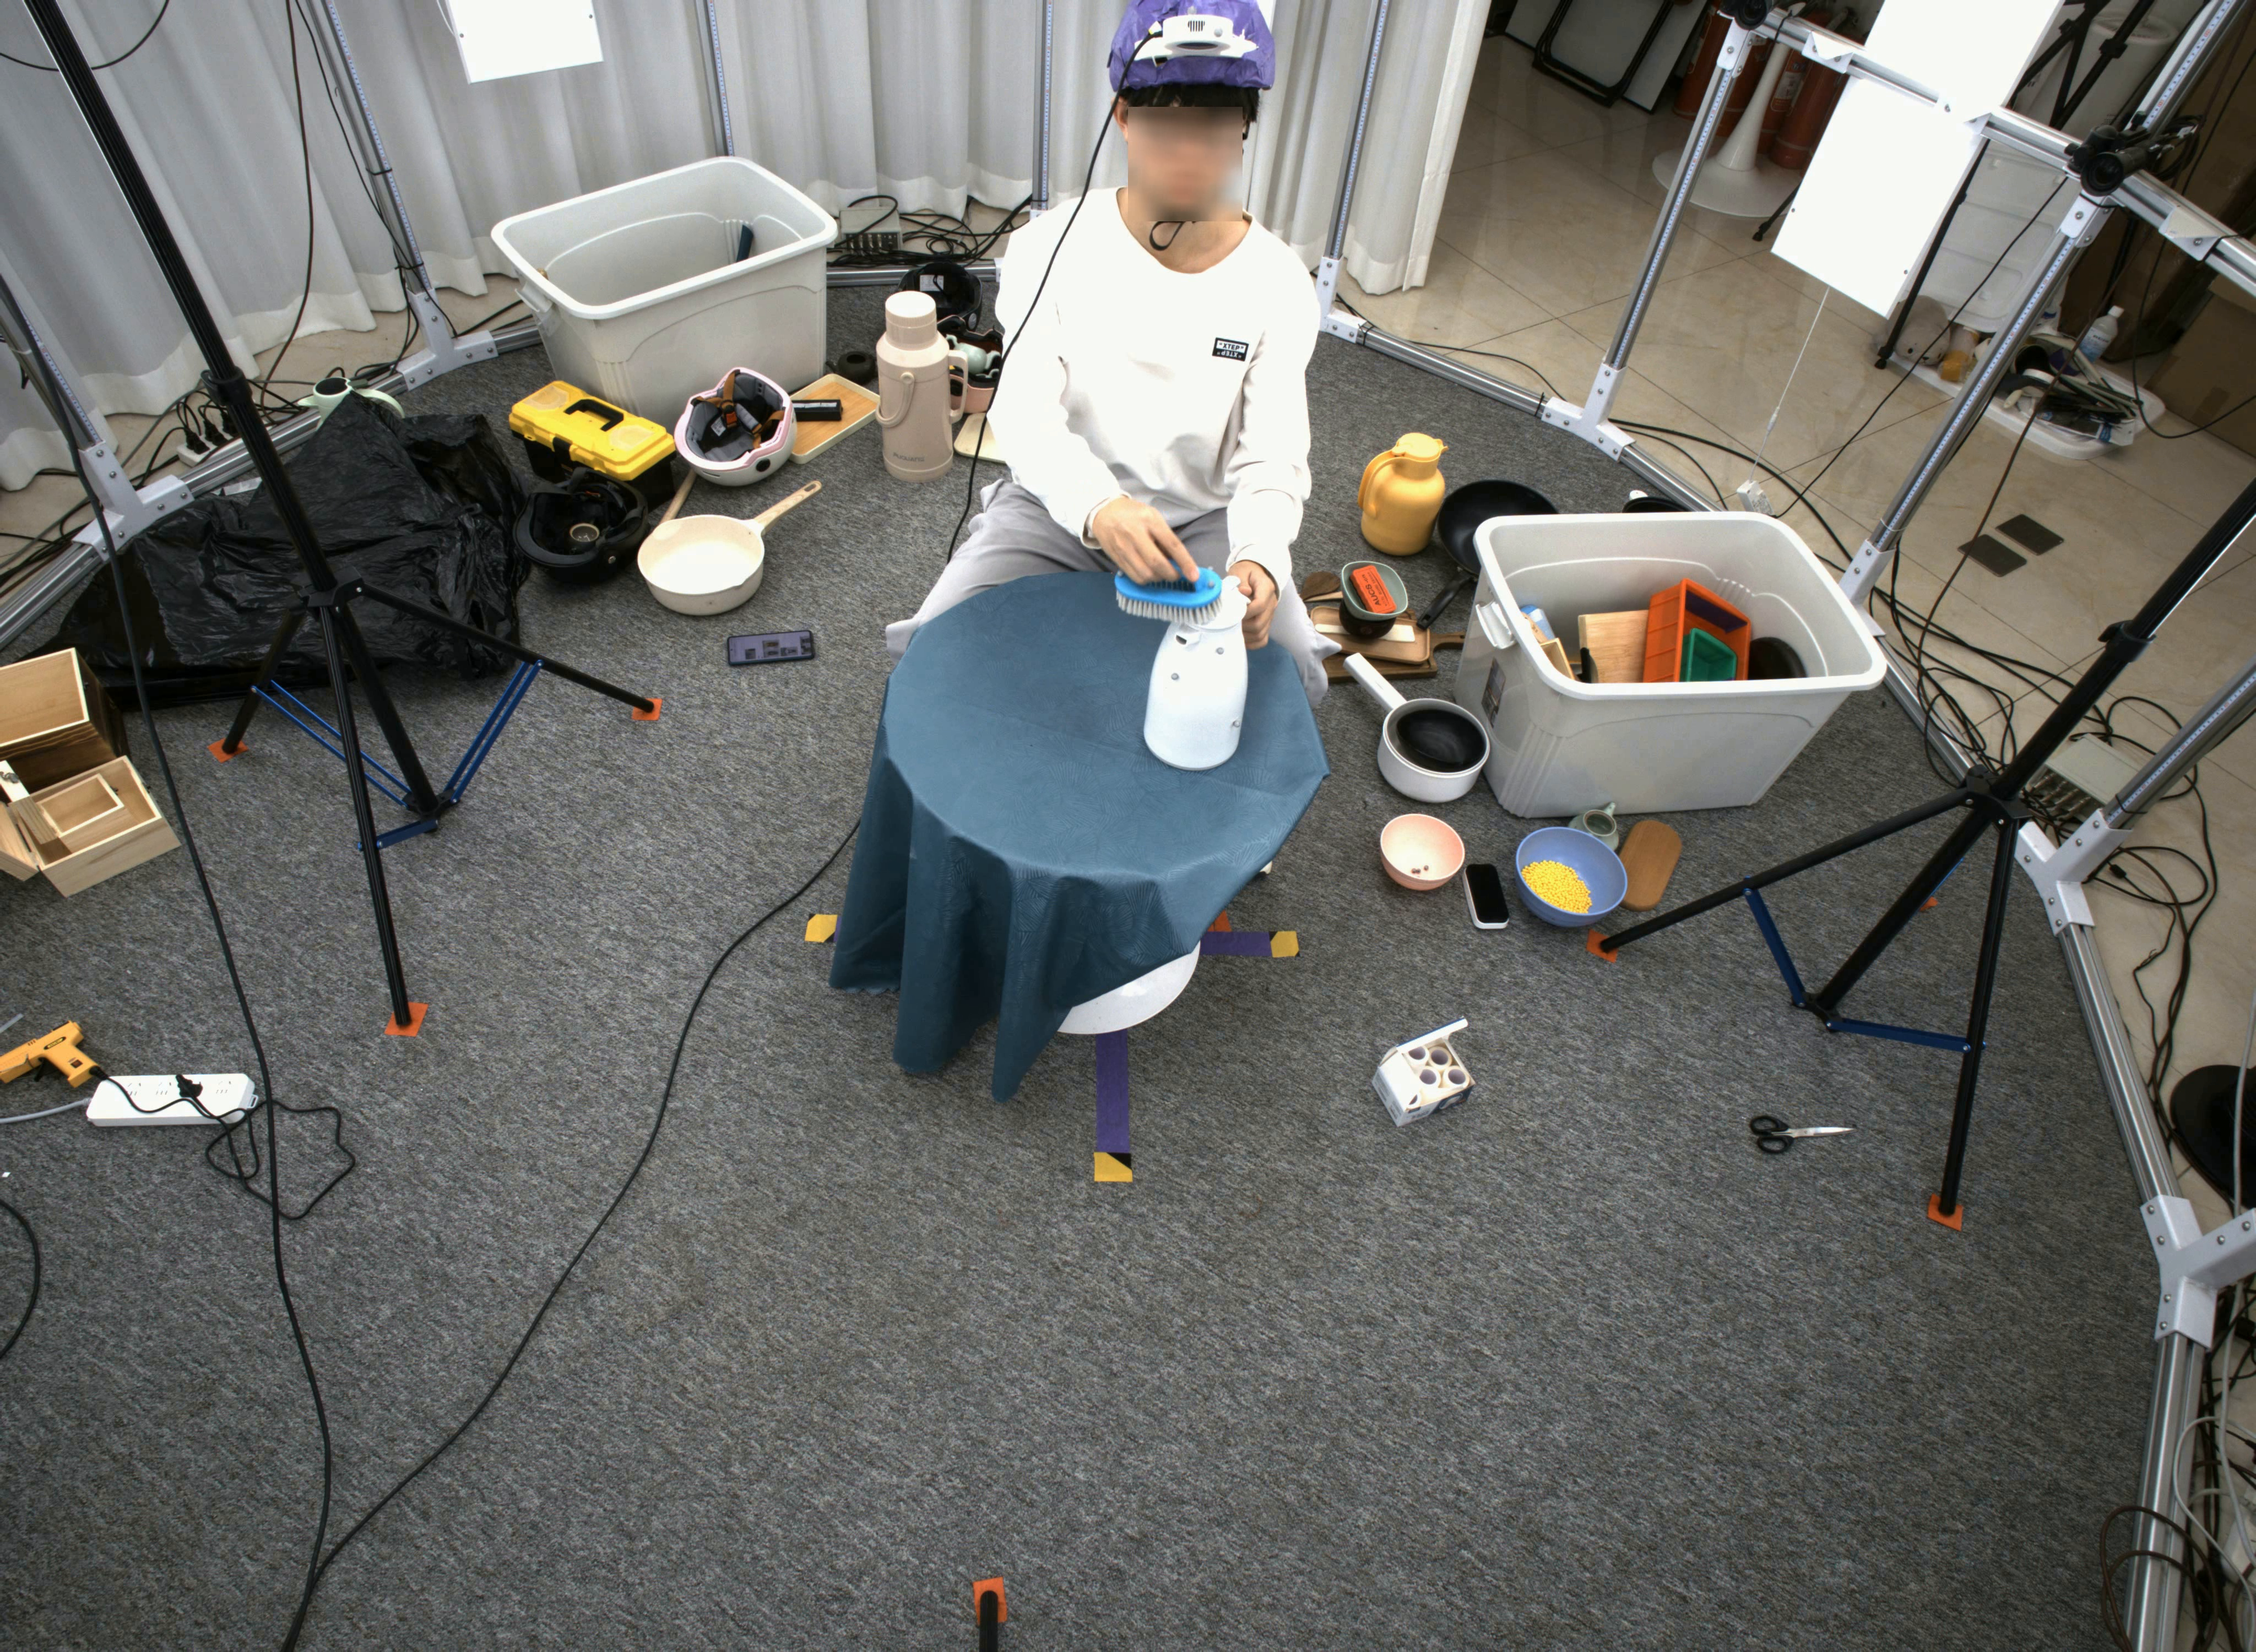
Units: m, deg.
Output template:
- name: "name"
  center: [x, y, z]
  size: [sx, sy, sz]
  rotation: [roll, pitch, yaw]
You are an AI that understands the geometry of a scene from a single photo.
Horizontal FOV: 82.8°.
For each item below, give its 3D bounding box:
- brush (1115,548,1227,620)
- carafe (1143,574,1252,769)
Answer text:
- name: "brush"
  center: [0.049, -0.308, 1.581]
  size: [0.143, 0.062, 0.086]
  rotation: [13, 53, 21]
- name: "carafe"
  center: [0.105, -0.218, 1.700]
  size: [0.134, 0.242, 0.170]
  rotation: [30, 53, 20]
